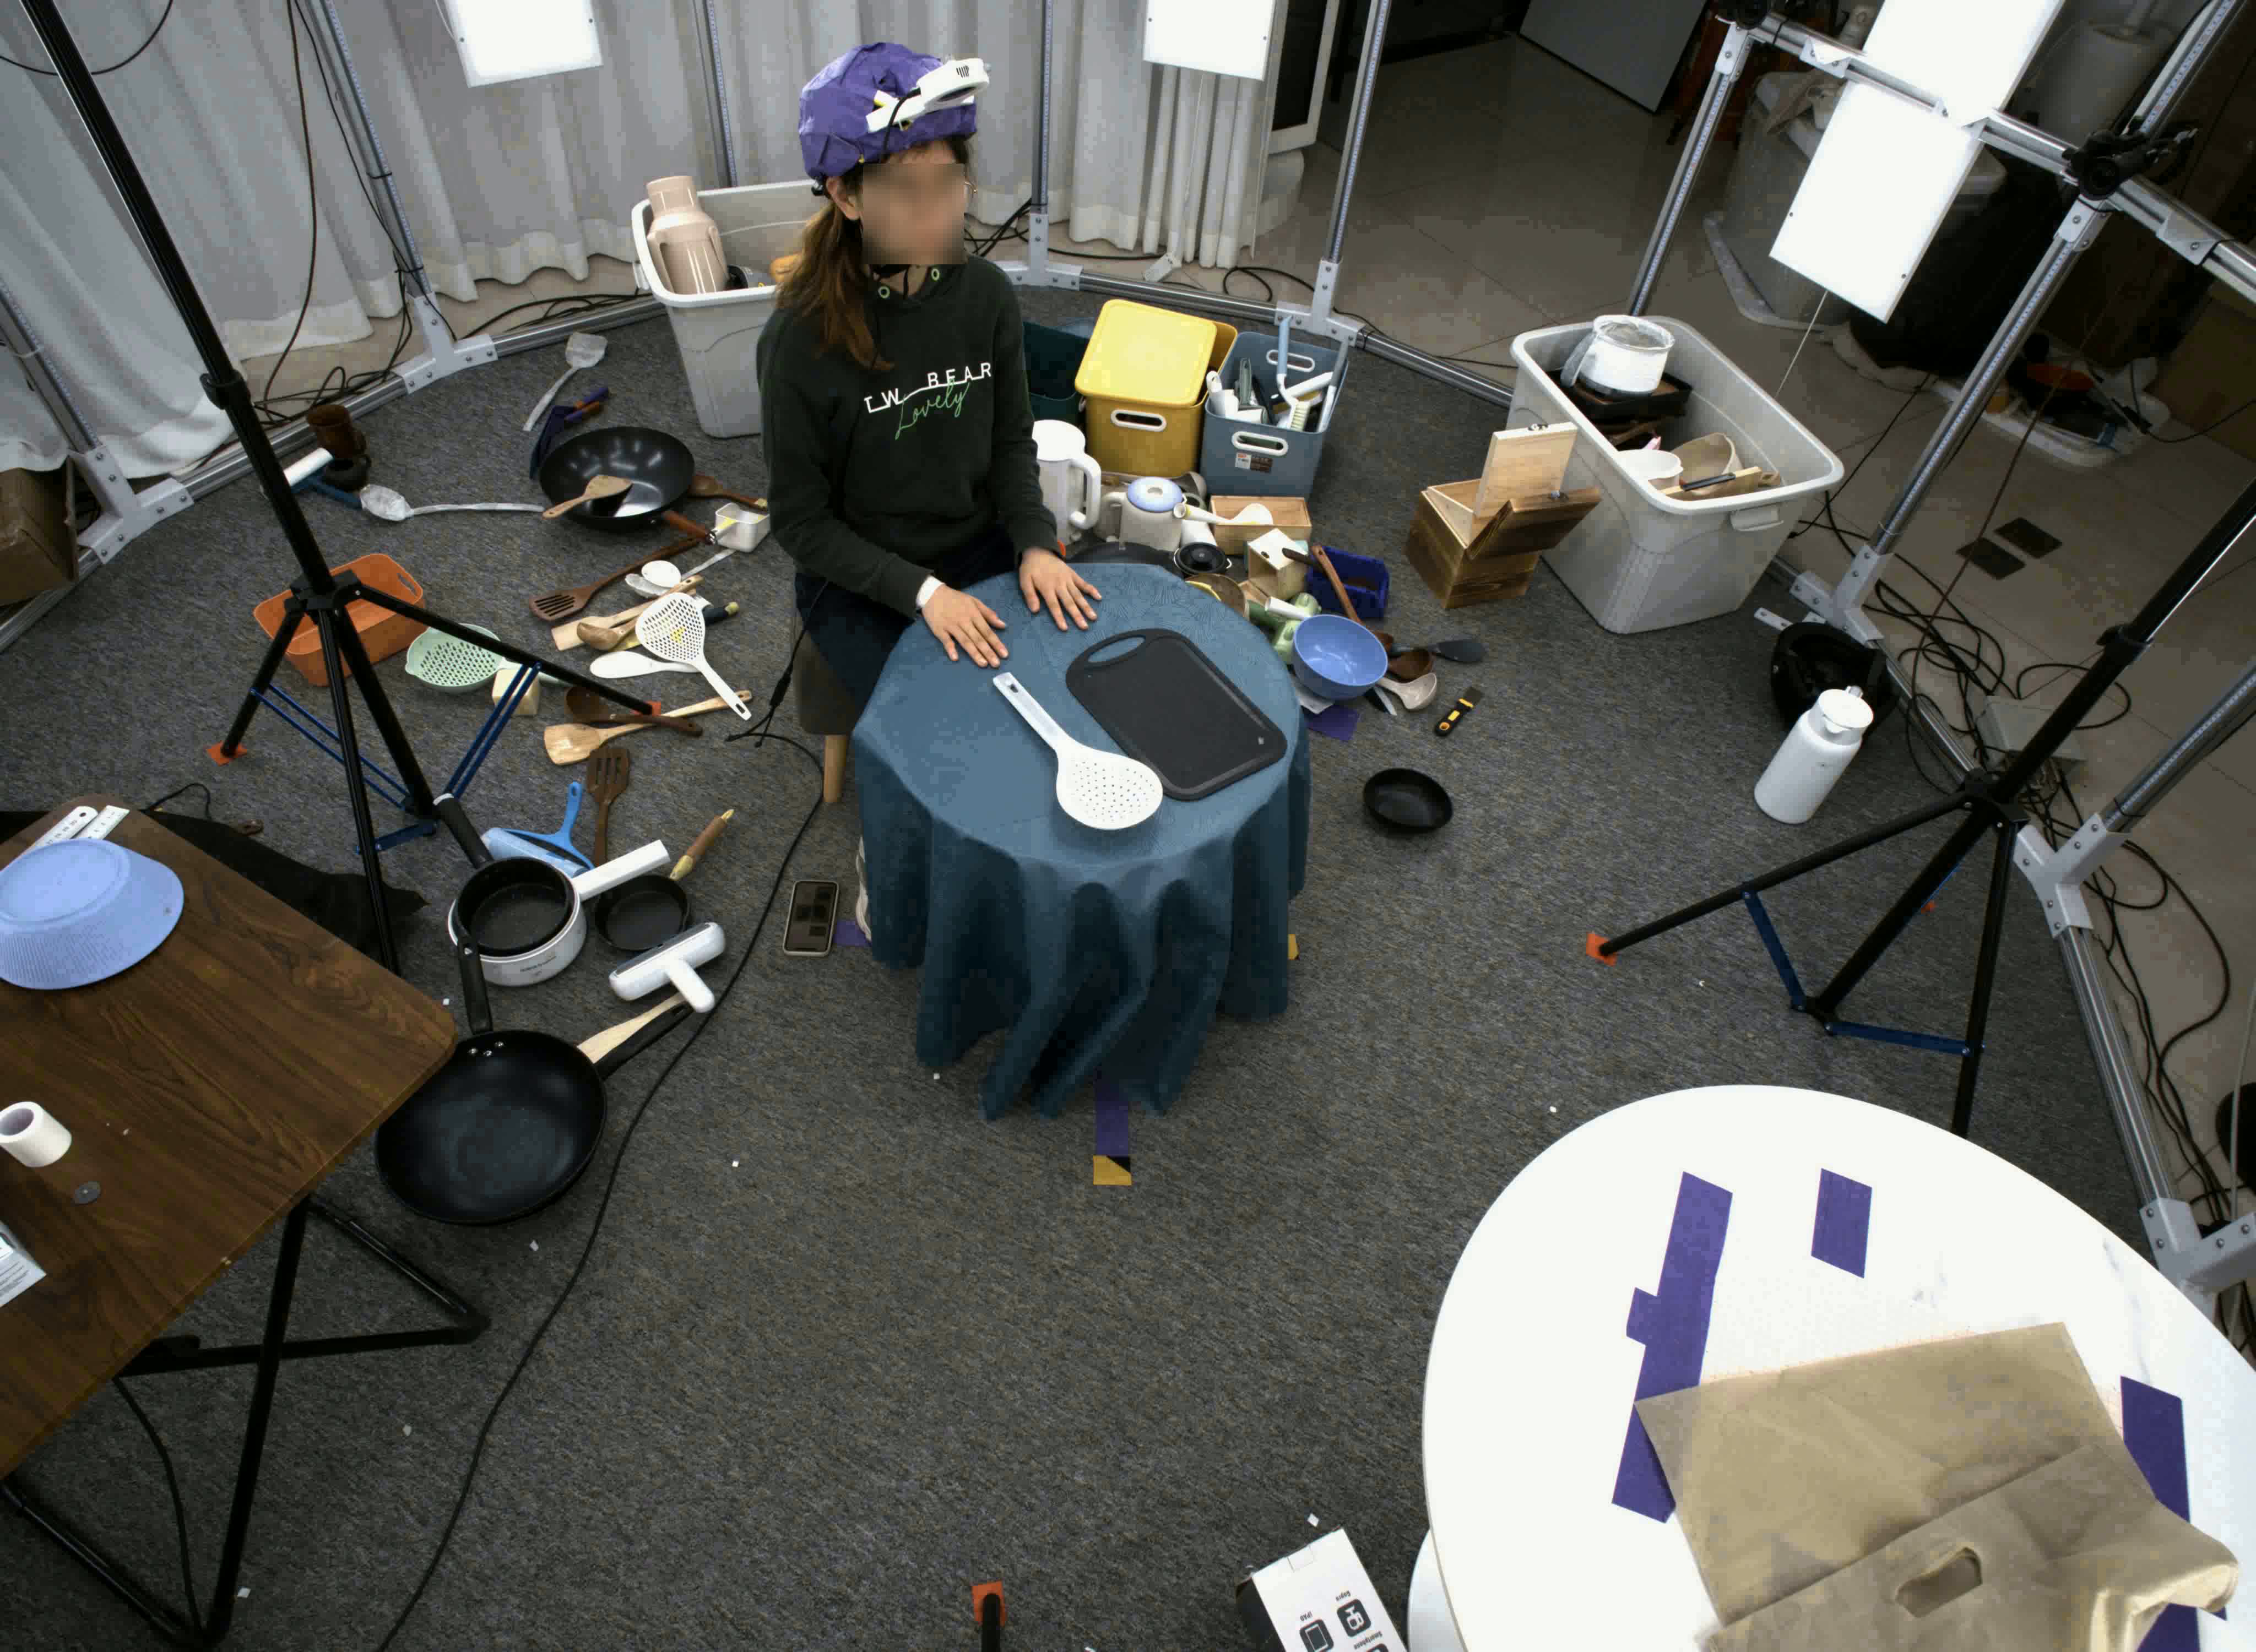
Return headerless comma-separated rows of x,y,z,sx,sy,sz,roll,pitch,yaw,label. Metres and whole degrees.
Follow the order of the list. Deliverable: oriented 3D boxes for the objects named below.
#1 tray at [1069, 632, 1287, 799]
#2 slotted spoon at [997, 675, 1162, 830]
0.063,-0.170,1.832,0.212,0.009,0.332,-25,54,-24,tray
-0.083,-0.105,1.740,0.136,0.044,0.357,-23,53,-24,slotted spoon
